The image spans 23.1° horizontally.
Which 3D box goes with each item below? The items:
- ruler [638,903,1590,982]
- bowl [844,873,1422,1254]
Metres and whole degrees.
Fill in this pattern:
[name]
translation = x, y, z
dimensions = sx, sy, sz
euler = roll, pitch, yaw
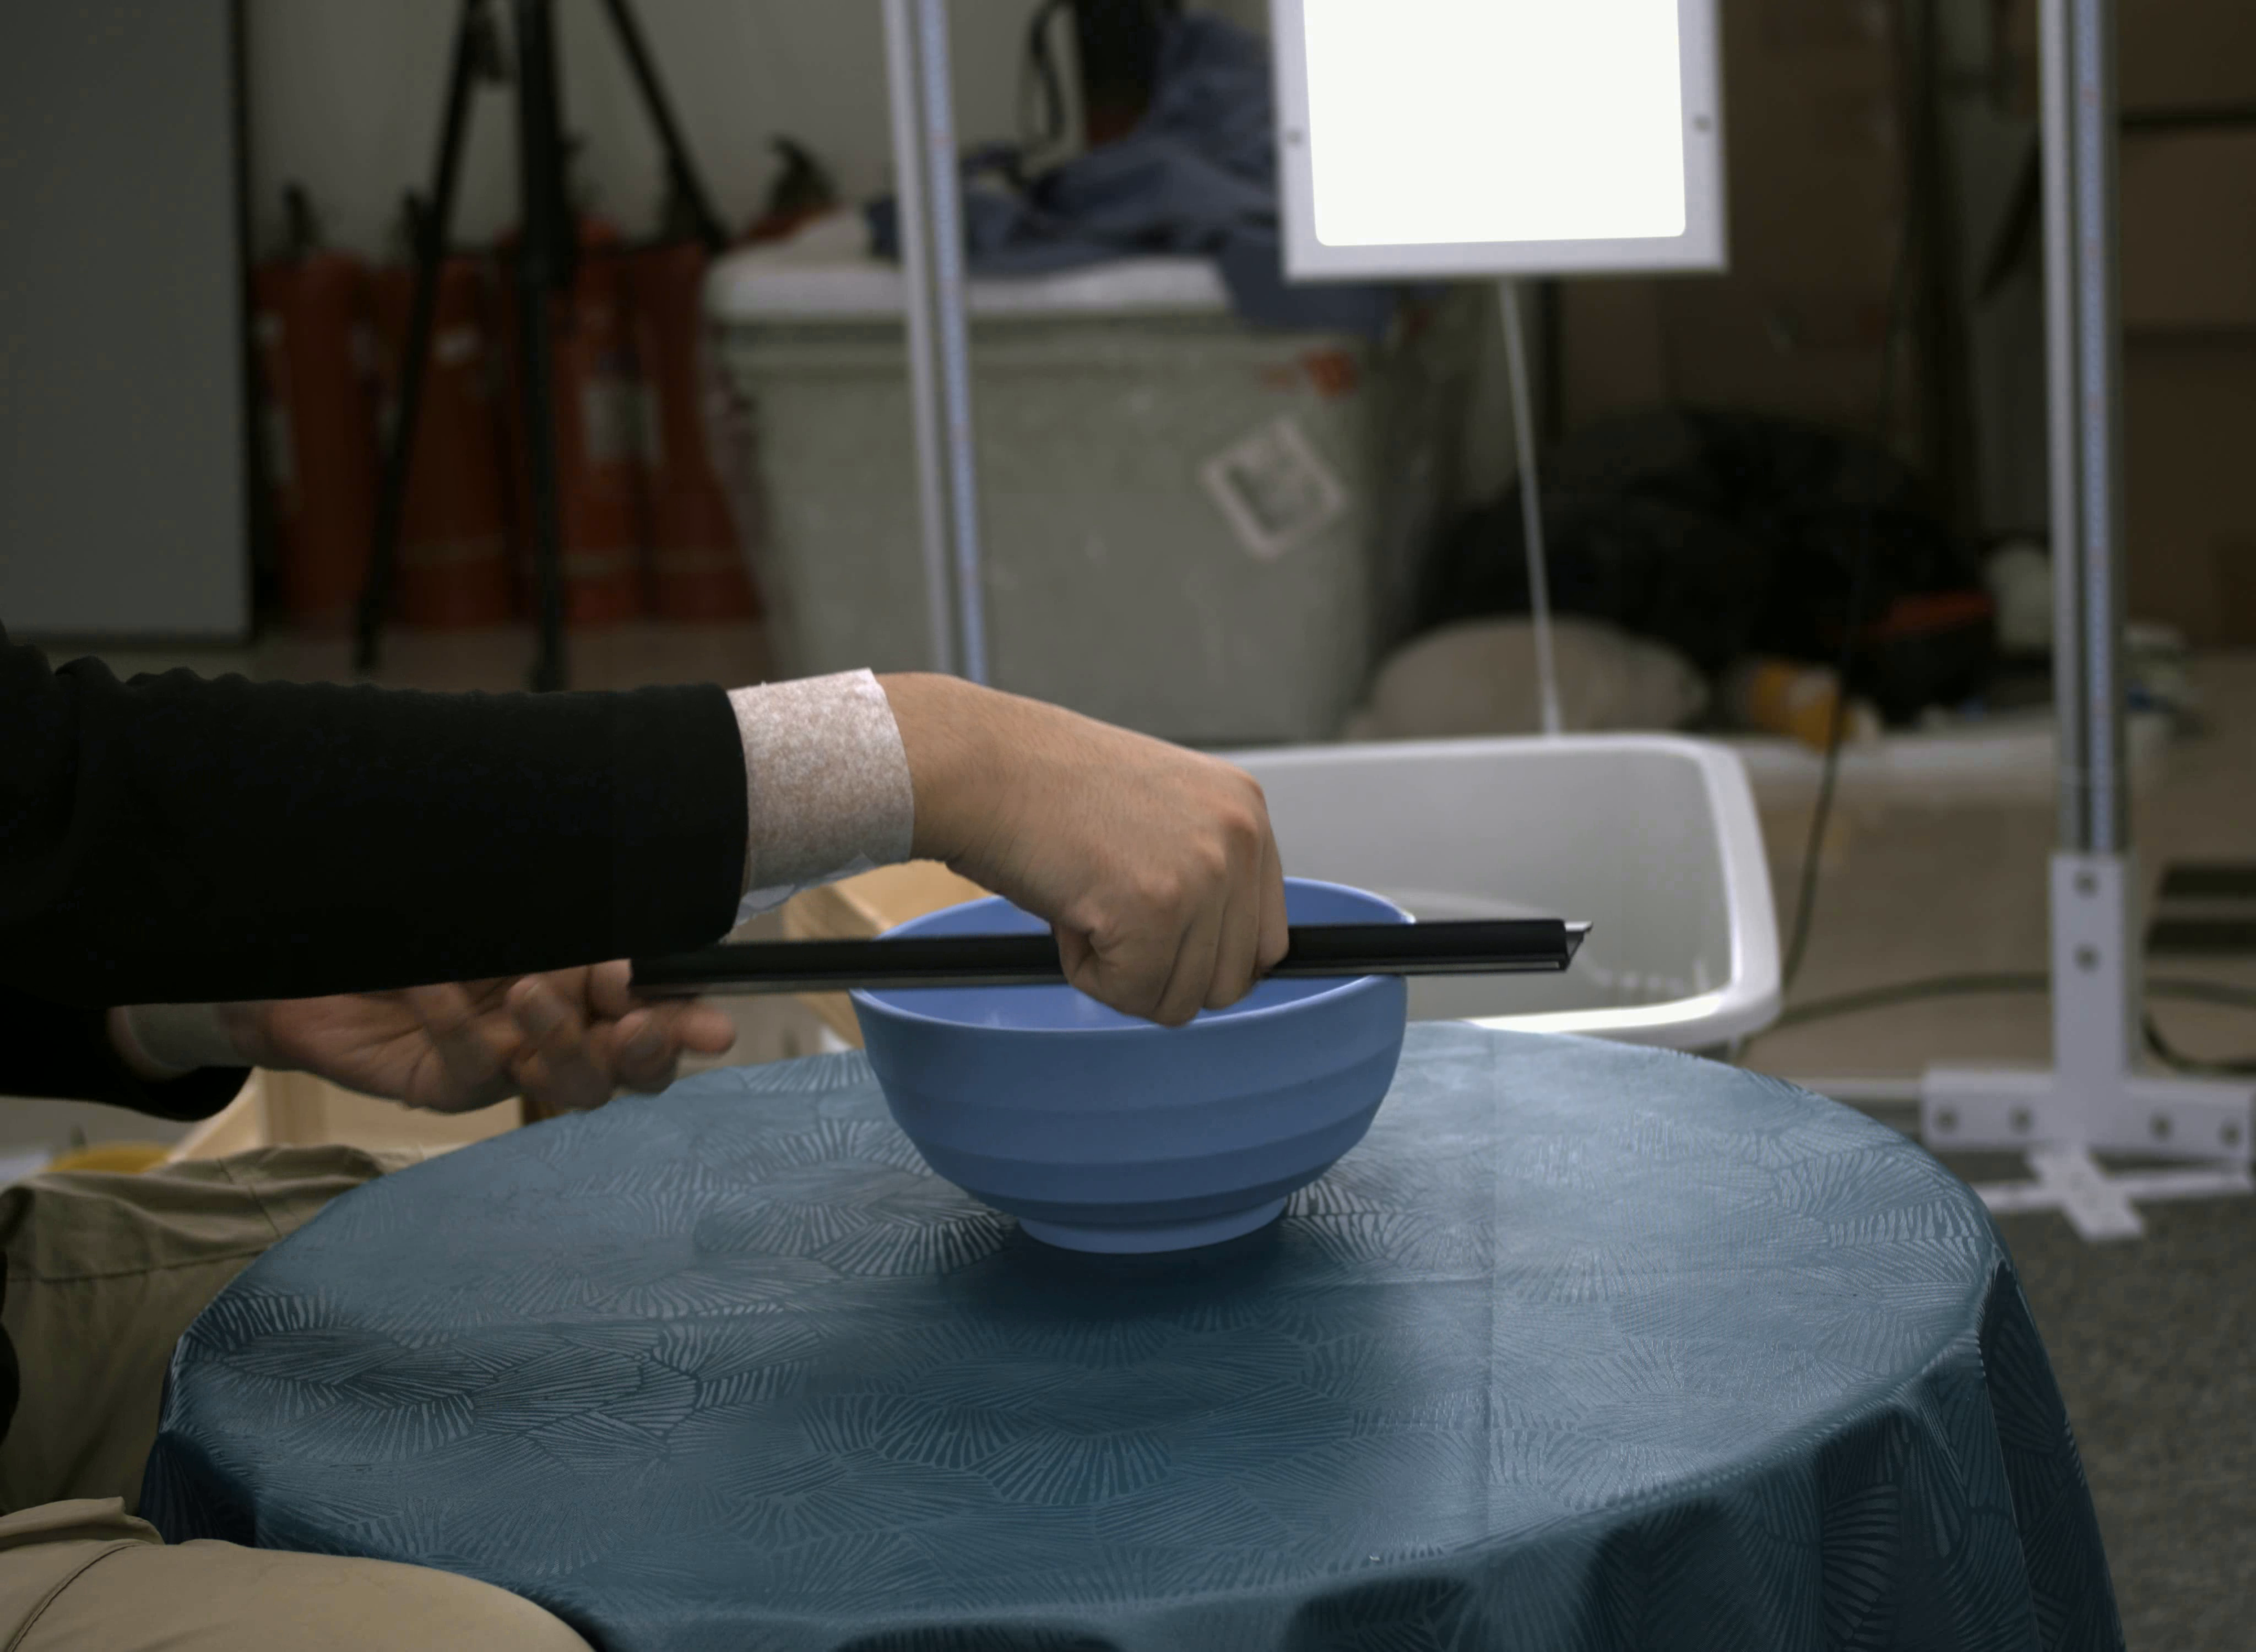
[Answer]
[ruler]
translation = -0.008, 0.032, 1.731
dimensions = 0.317, 0.017, 0.038
euler = -2, 16, 23
[bowl]
translation = 0.005, 0.086, 1.862
dimensions = 0.196, 0.096, 0.196
euler = -4, 13, 0
